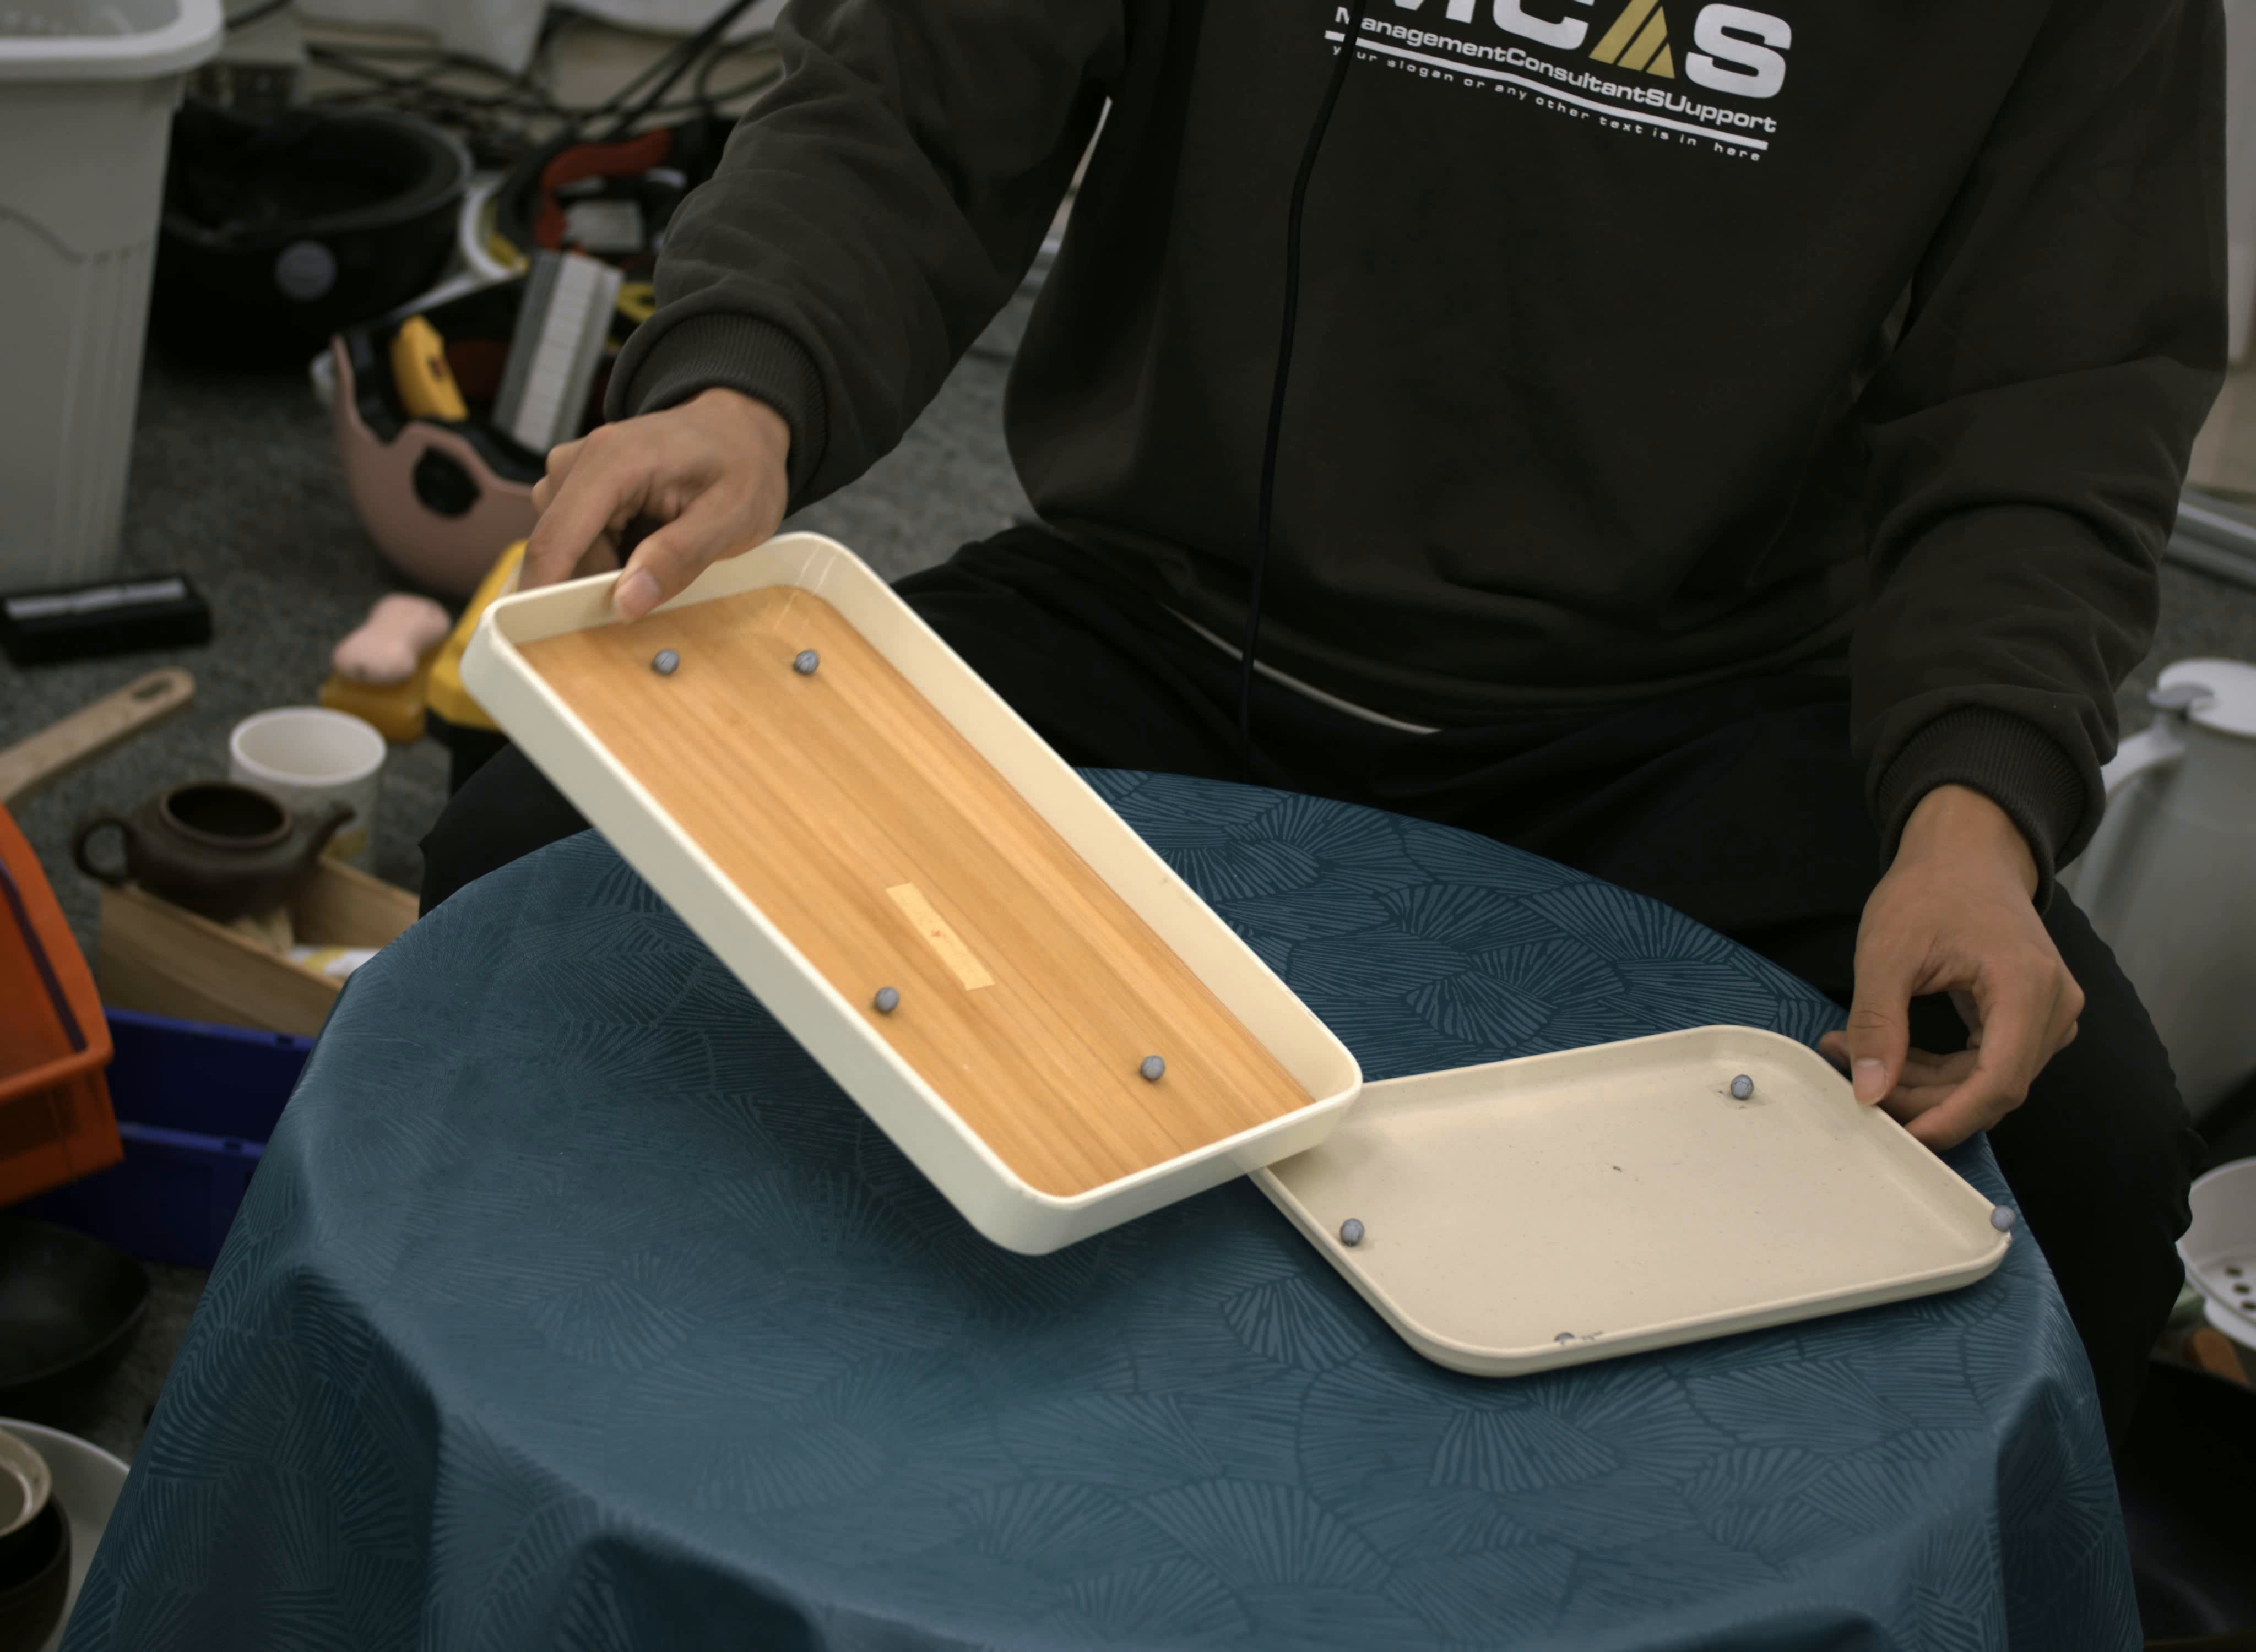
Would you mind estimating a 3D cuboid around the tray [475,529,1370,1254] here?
[{"bbox_3d":[-0.070,0.016,1.812,0.302,0.027,0.190,46,34,21],"label":"tray"}]

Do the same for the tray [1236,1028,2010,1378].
[{"bbox_3d":[0.168,0.128,1.819,0.238,0.017,0.173,-8,29,-27],"label":"tray"}]
